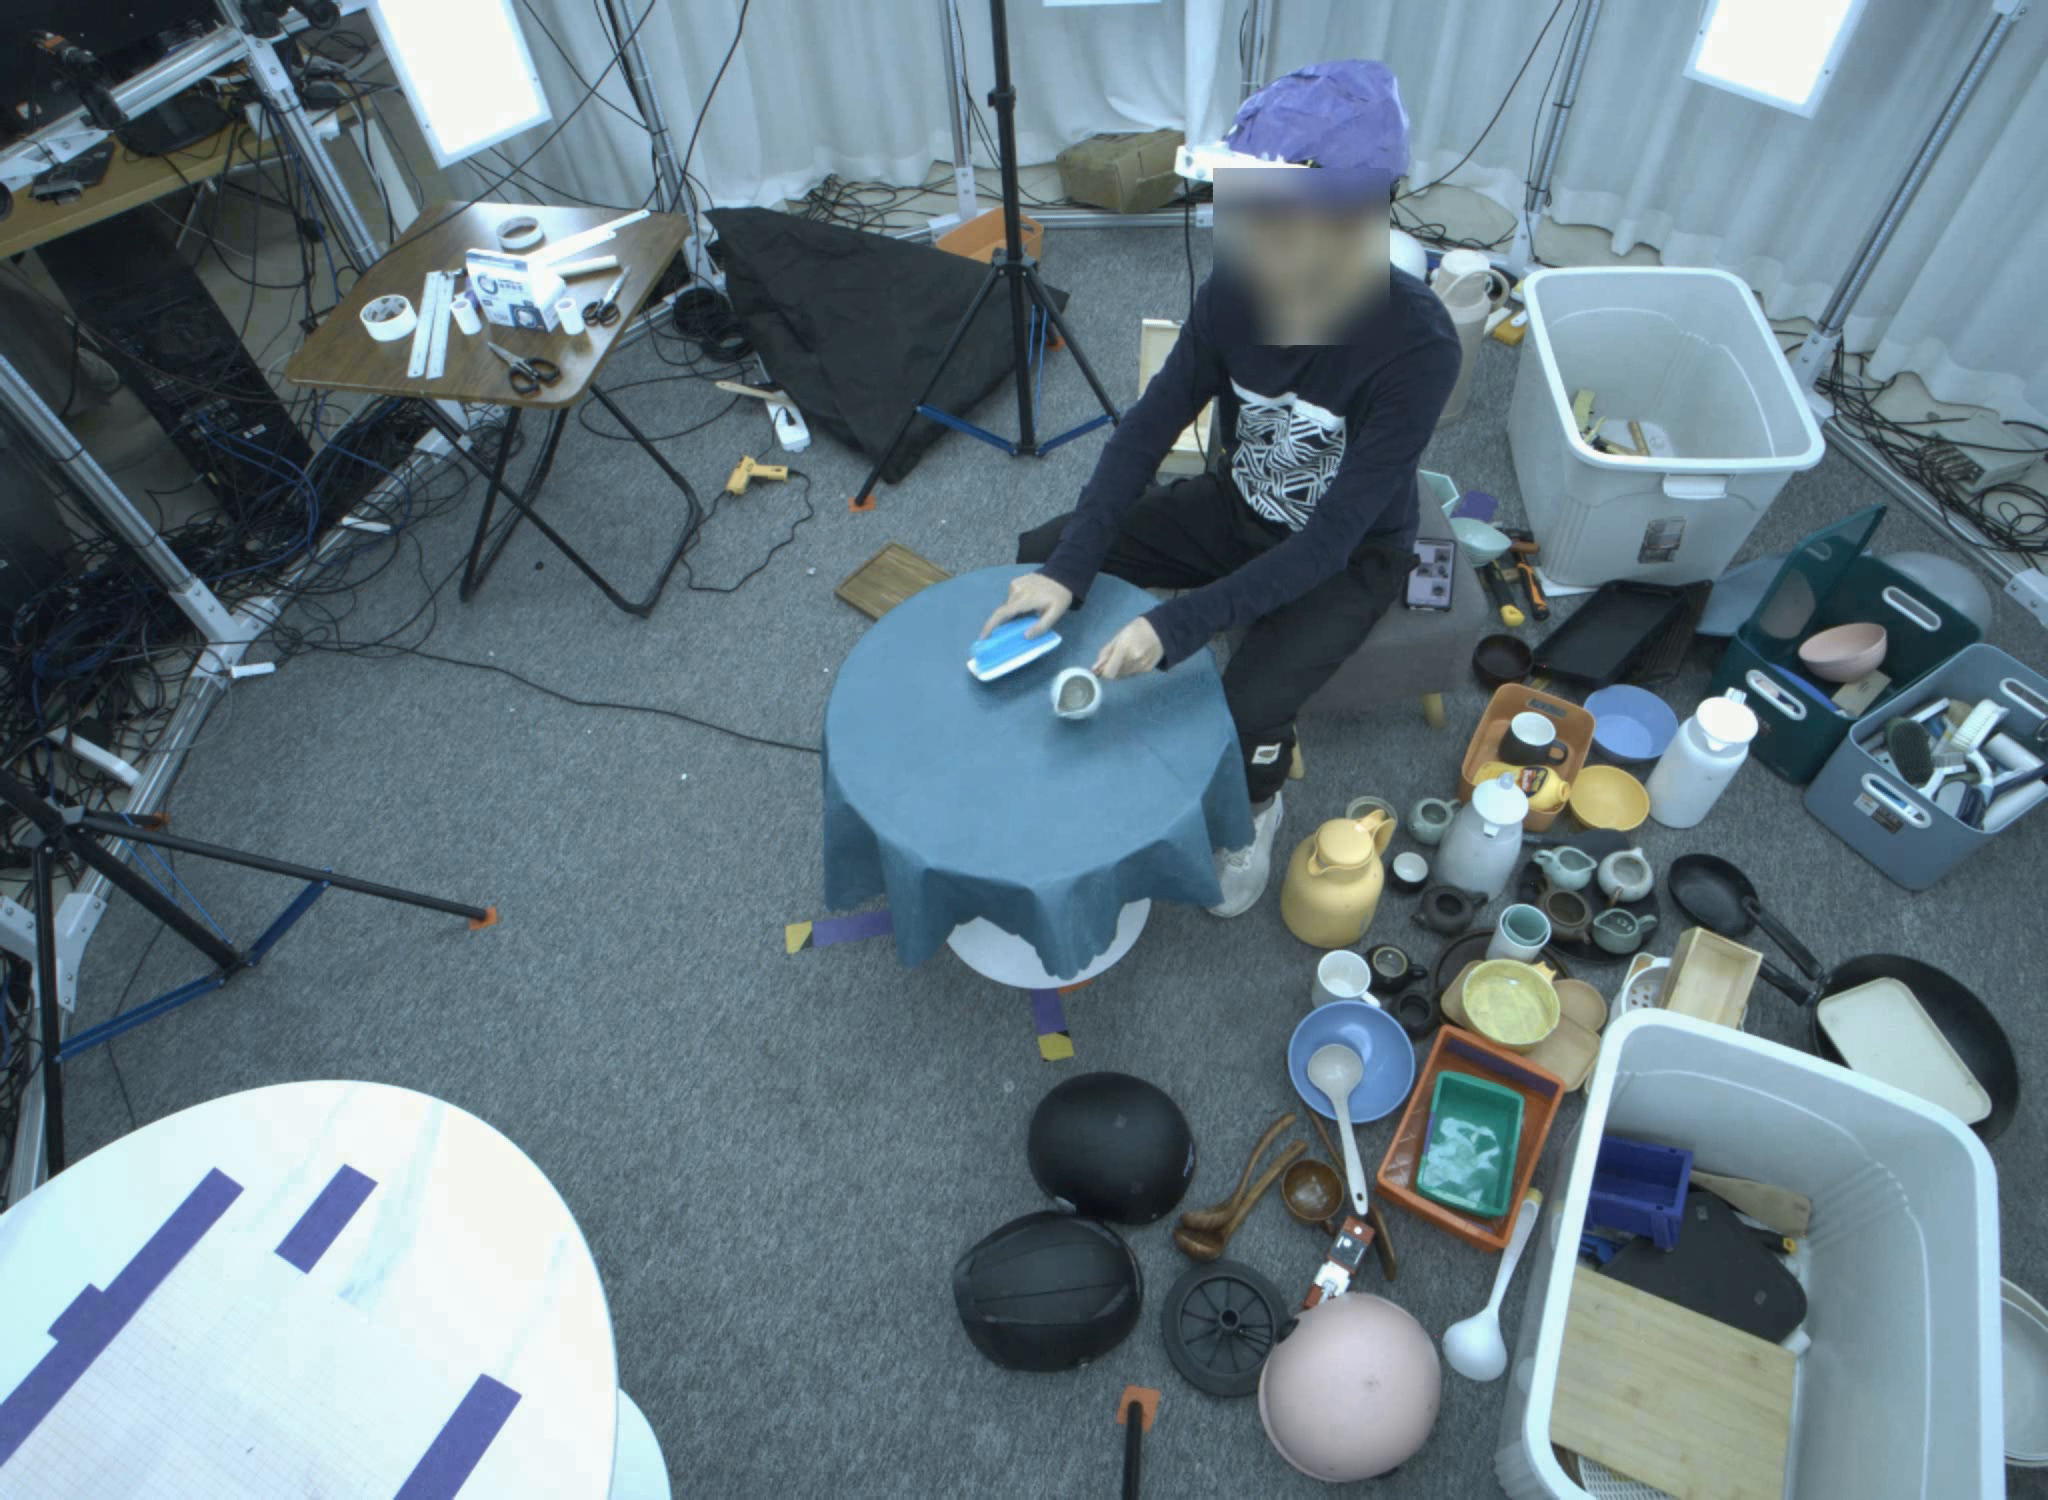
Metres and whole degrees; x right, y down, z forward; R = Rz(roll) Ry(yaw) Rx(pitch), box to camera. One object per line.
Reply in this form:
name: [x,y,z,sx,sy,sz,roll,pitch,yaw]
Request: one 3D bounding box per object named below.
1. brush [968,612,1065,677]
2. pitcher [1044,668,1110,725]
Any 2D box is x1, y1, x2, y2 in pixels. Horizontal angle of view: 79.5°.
brush: [-0.015,-0.163,1.841,0.144,0.057,0.082,-24,32,-9]
pitcher: [0.075,-0.080,1.771,0.119,0.087,0.076,-38,96,4]
